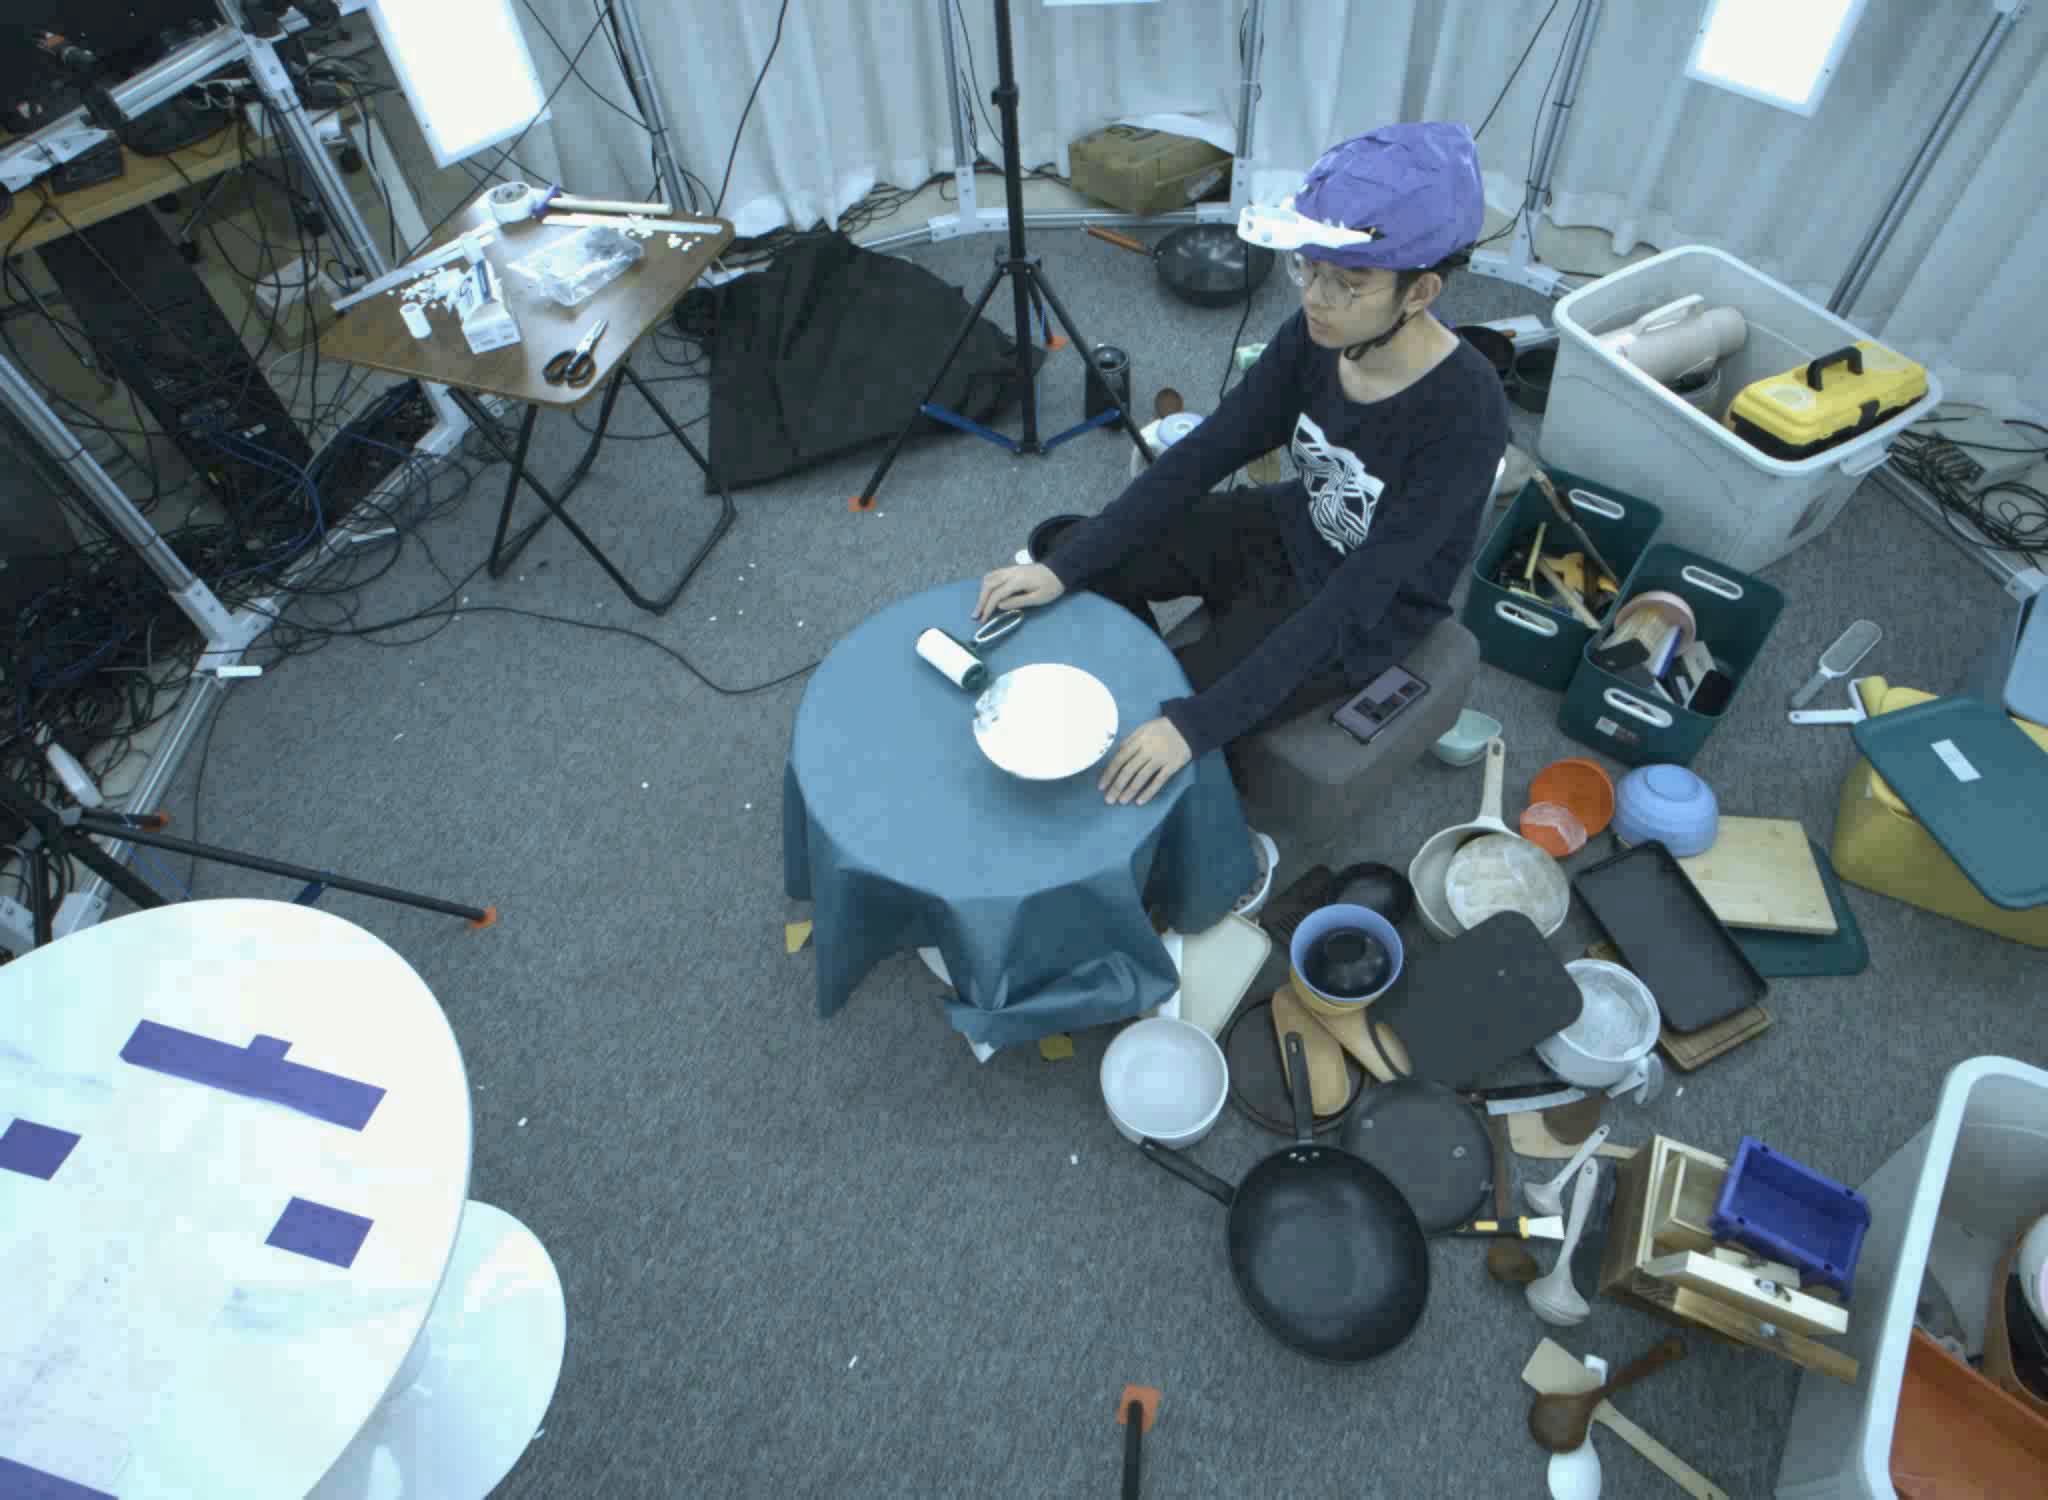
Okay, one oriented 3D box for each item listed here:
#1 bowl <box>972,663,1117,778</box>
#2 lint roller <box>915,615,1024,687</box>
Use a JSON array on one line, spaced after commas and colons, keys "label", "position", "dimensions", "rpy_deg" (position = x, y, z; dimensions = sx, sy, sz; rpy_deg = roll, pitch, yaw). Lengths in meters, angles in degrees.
[{"label": "bowl", "position": [0.029, -0.024, 1.764], "dimensions": [0.204, 0.078, 0.202], "rpy_deg": [1, 55, 0]}, {"label": "lint roller", "position": [-0.066, -0.176, 1.900], "dimensions": [0.132, 0.049, 0.182], "rpy_deg": [38, 59, 25]}]
